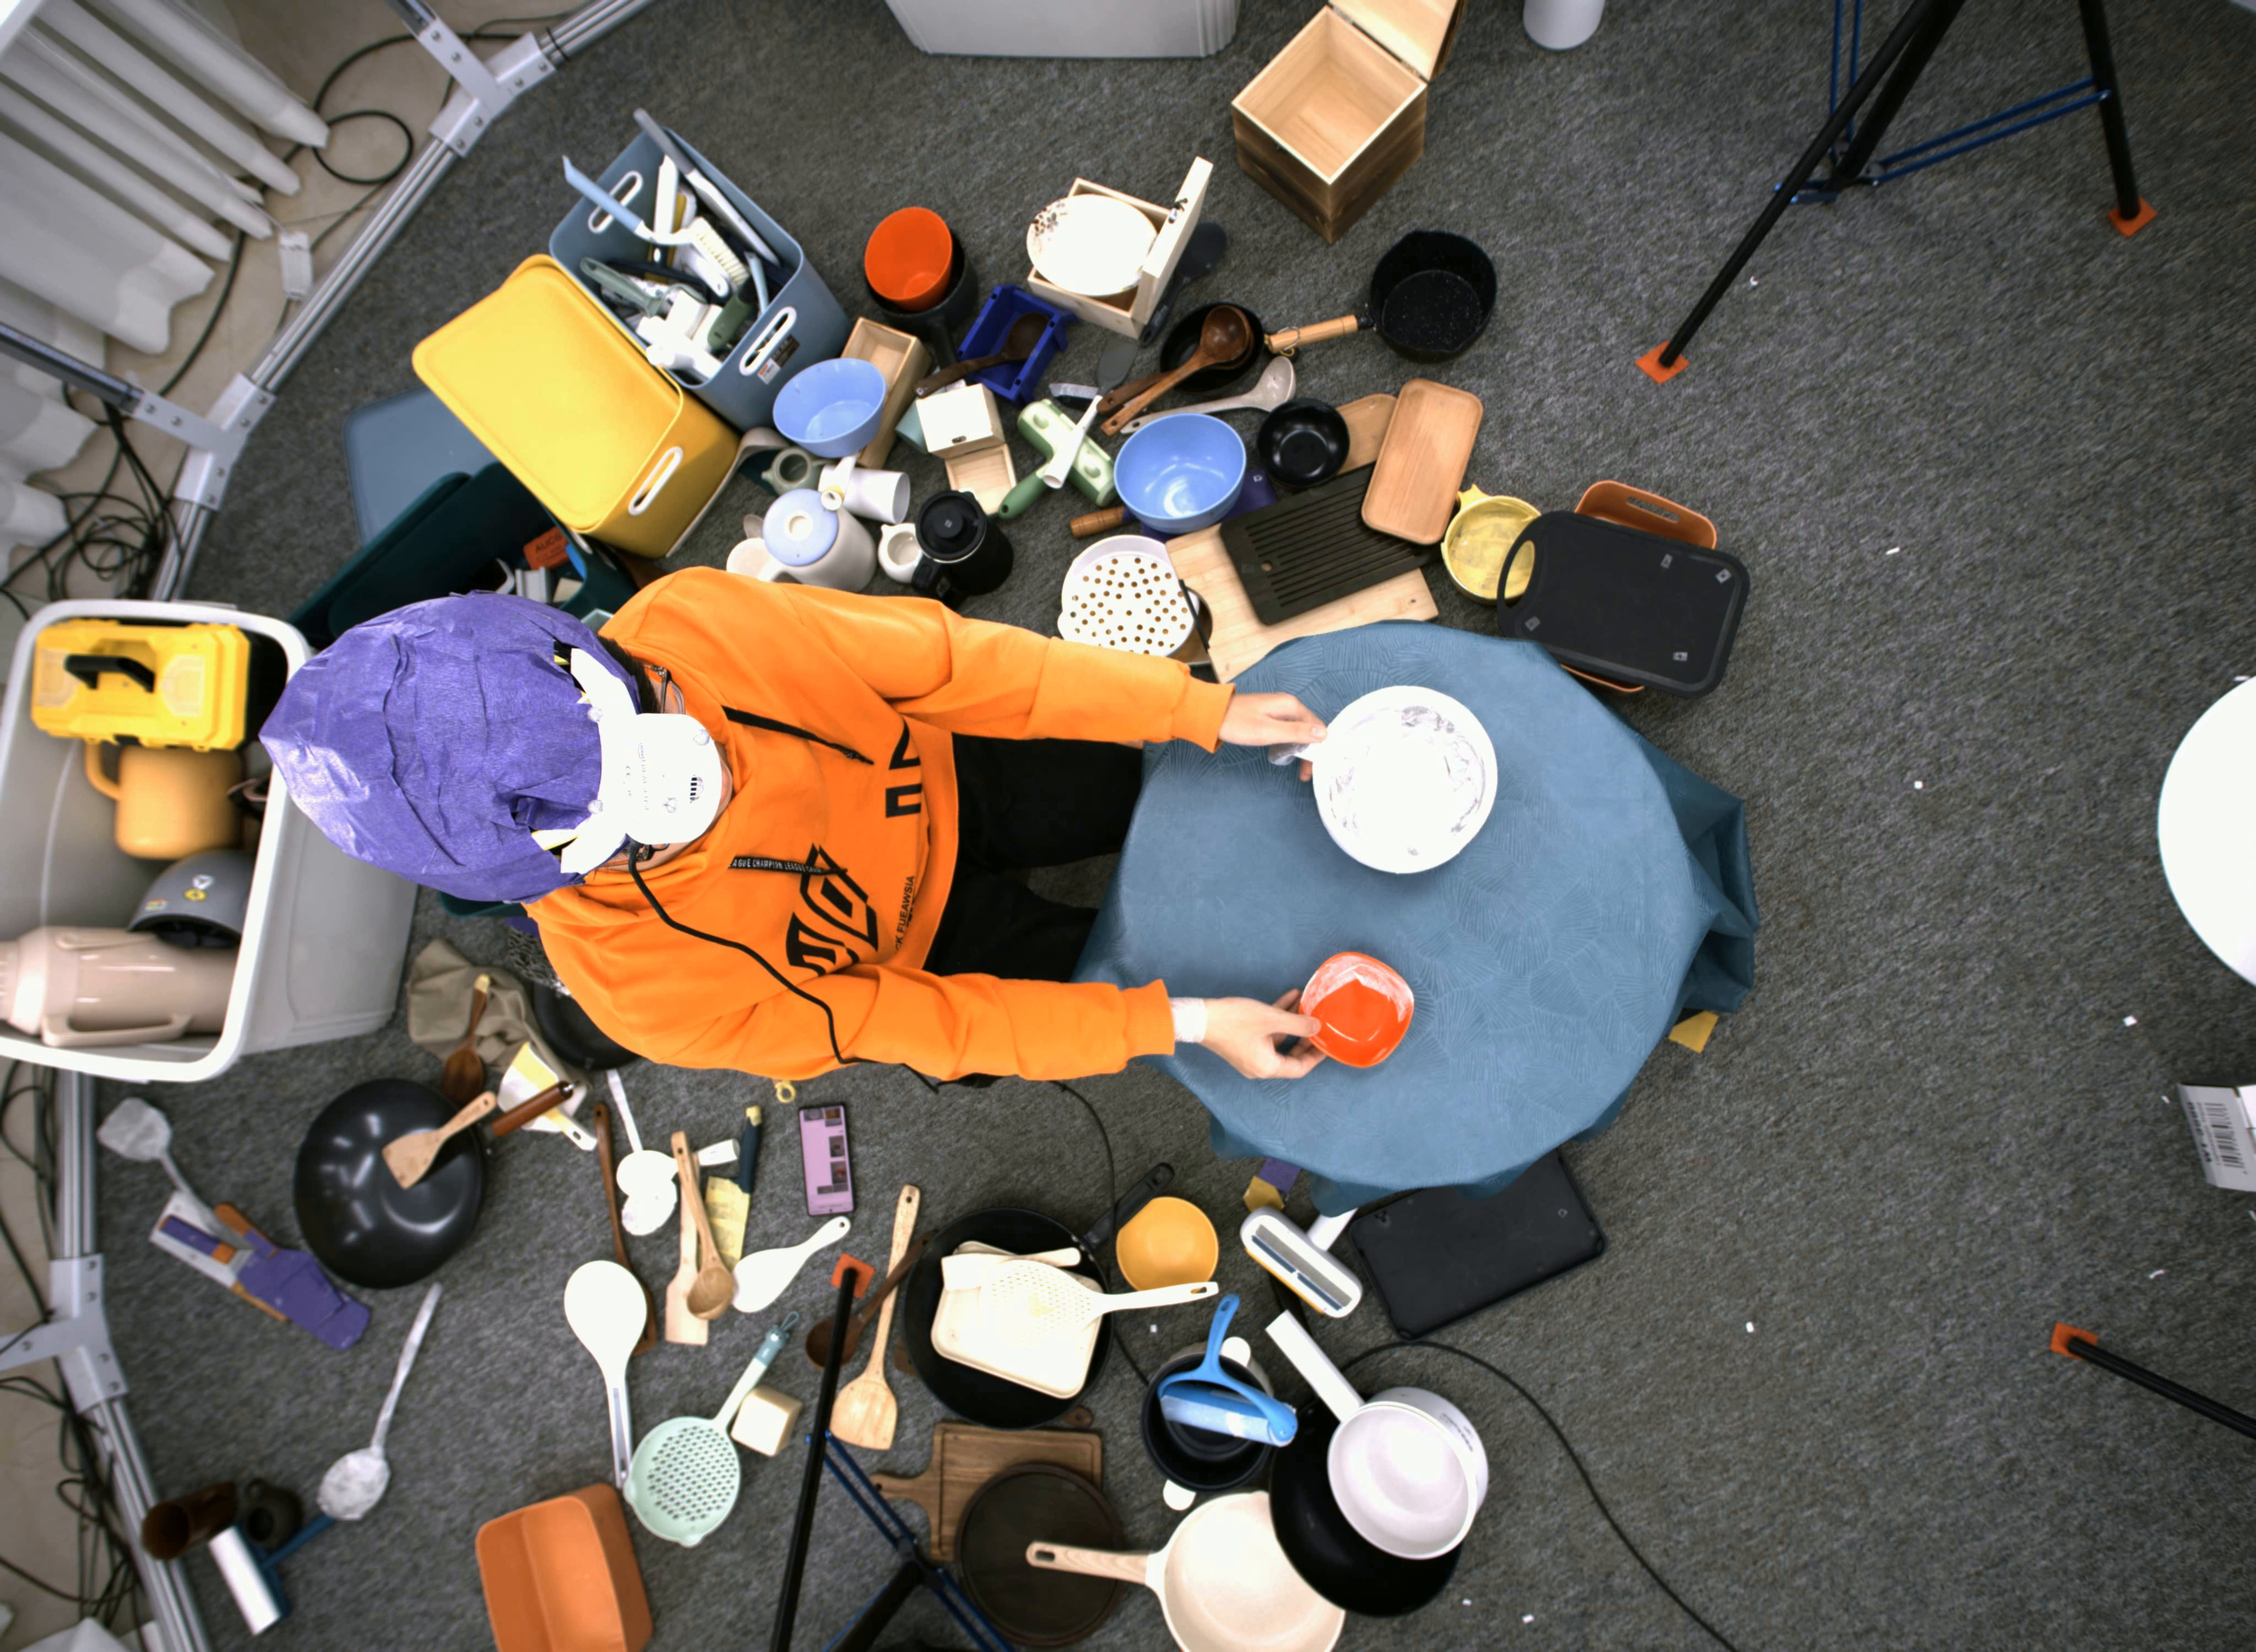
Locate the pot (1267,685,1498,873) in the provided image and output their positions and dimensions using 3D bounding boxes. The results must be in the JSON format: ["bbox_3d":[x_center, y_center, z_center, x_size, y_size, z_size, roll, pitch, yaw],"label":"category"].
[{"bbox_3d":[0.252,-0.052,1.400,0.234,0.137,0.178,18,89,11],"label":"pot"}]

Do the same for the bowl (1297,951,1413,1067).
[{"bbox_3d":[0.235,0.187,1.434,0.119,0.051,0.118,-1,88,10],"label":"bowl"}]
